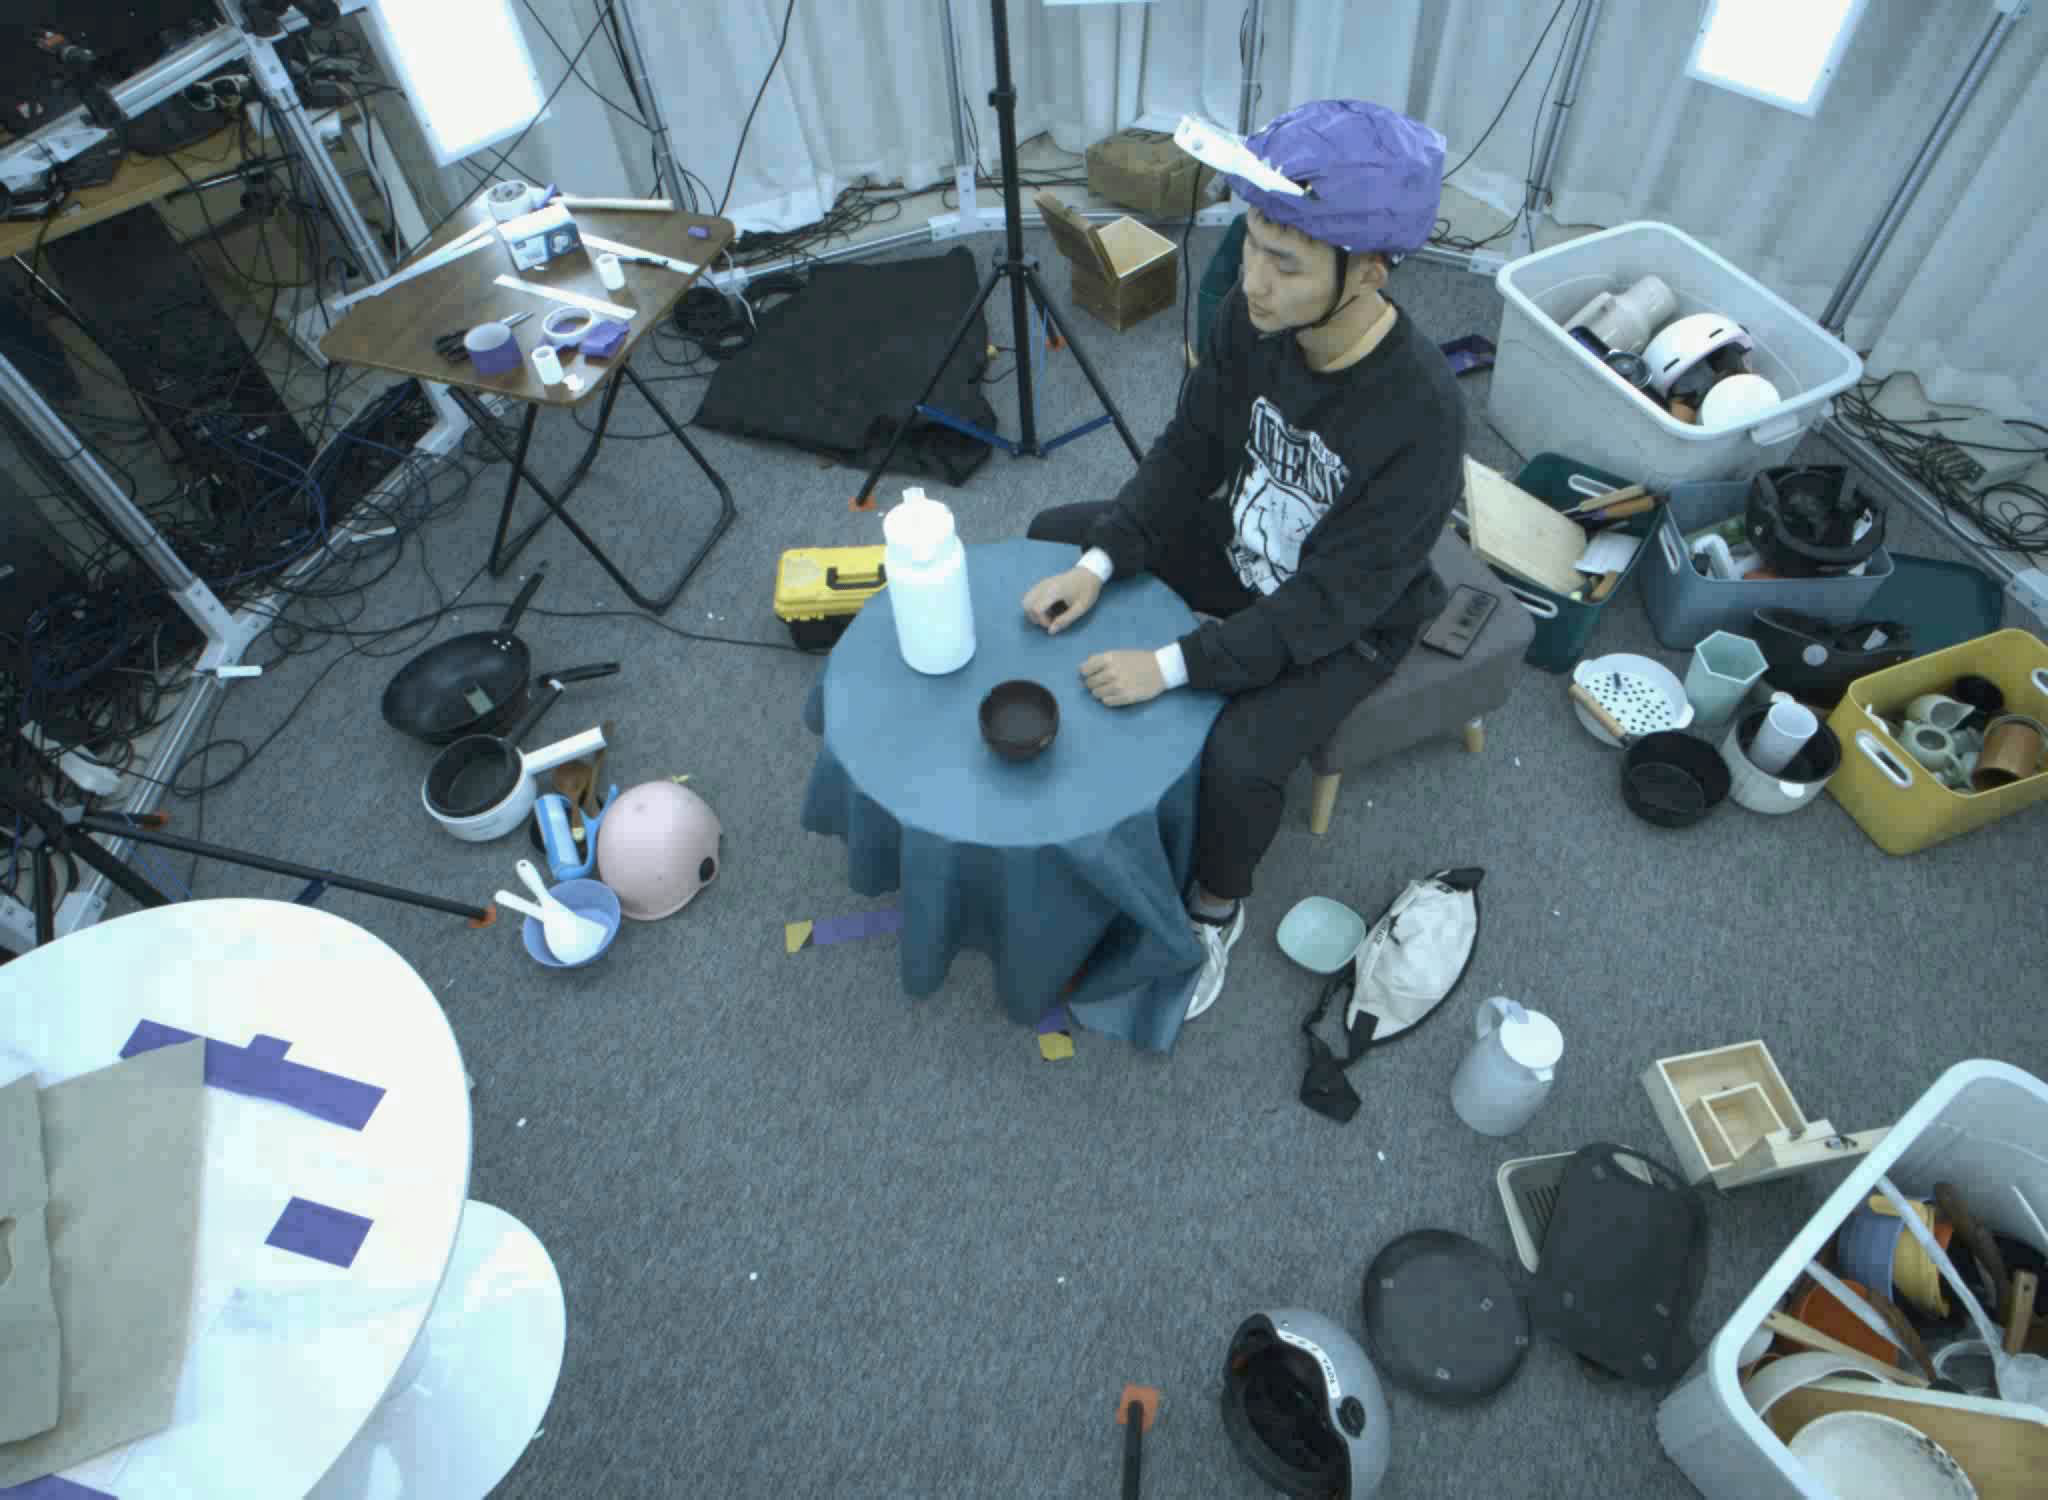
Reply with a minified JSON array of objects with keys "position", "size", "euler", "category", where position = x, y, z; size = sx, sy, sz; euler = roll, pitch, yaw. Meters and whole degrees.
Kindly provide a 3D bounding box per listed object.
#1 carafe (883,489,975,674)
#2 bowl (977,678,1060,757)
[{"position":[-0.145,-0.250,1.802],"size":[0.124,0.272,0.170],"euler":[-12,54,-2],"category":"carafe"},{"position":[-0.007,-0.039,1.765],"size":[0.118,0.070,0.117],"euler":[-1,54,2],"category":"bowl"}]
